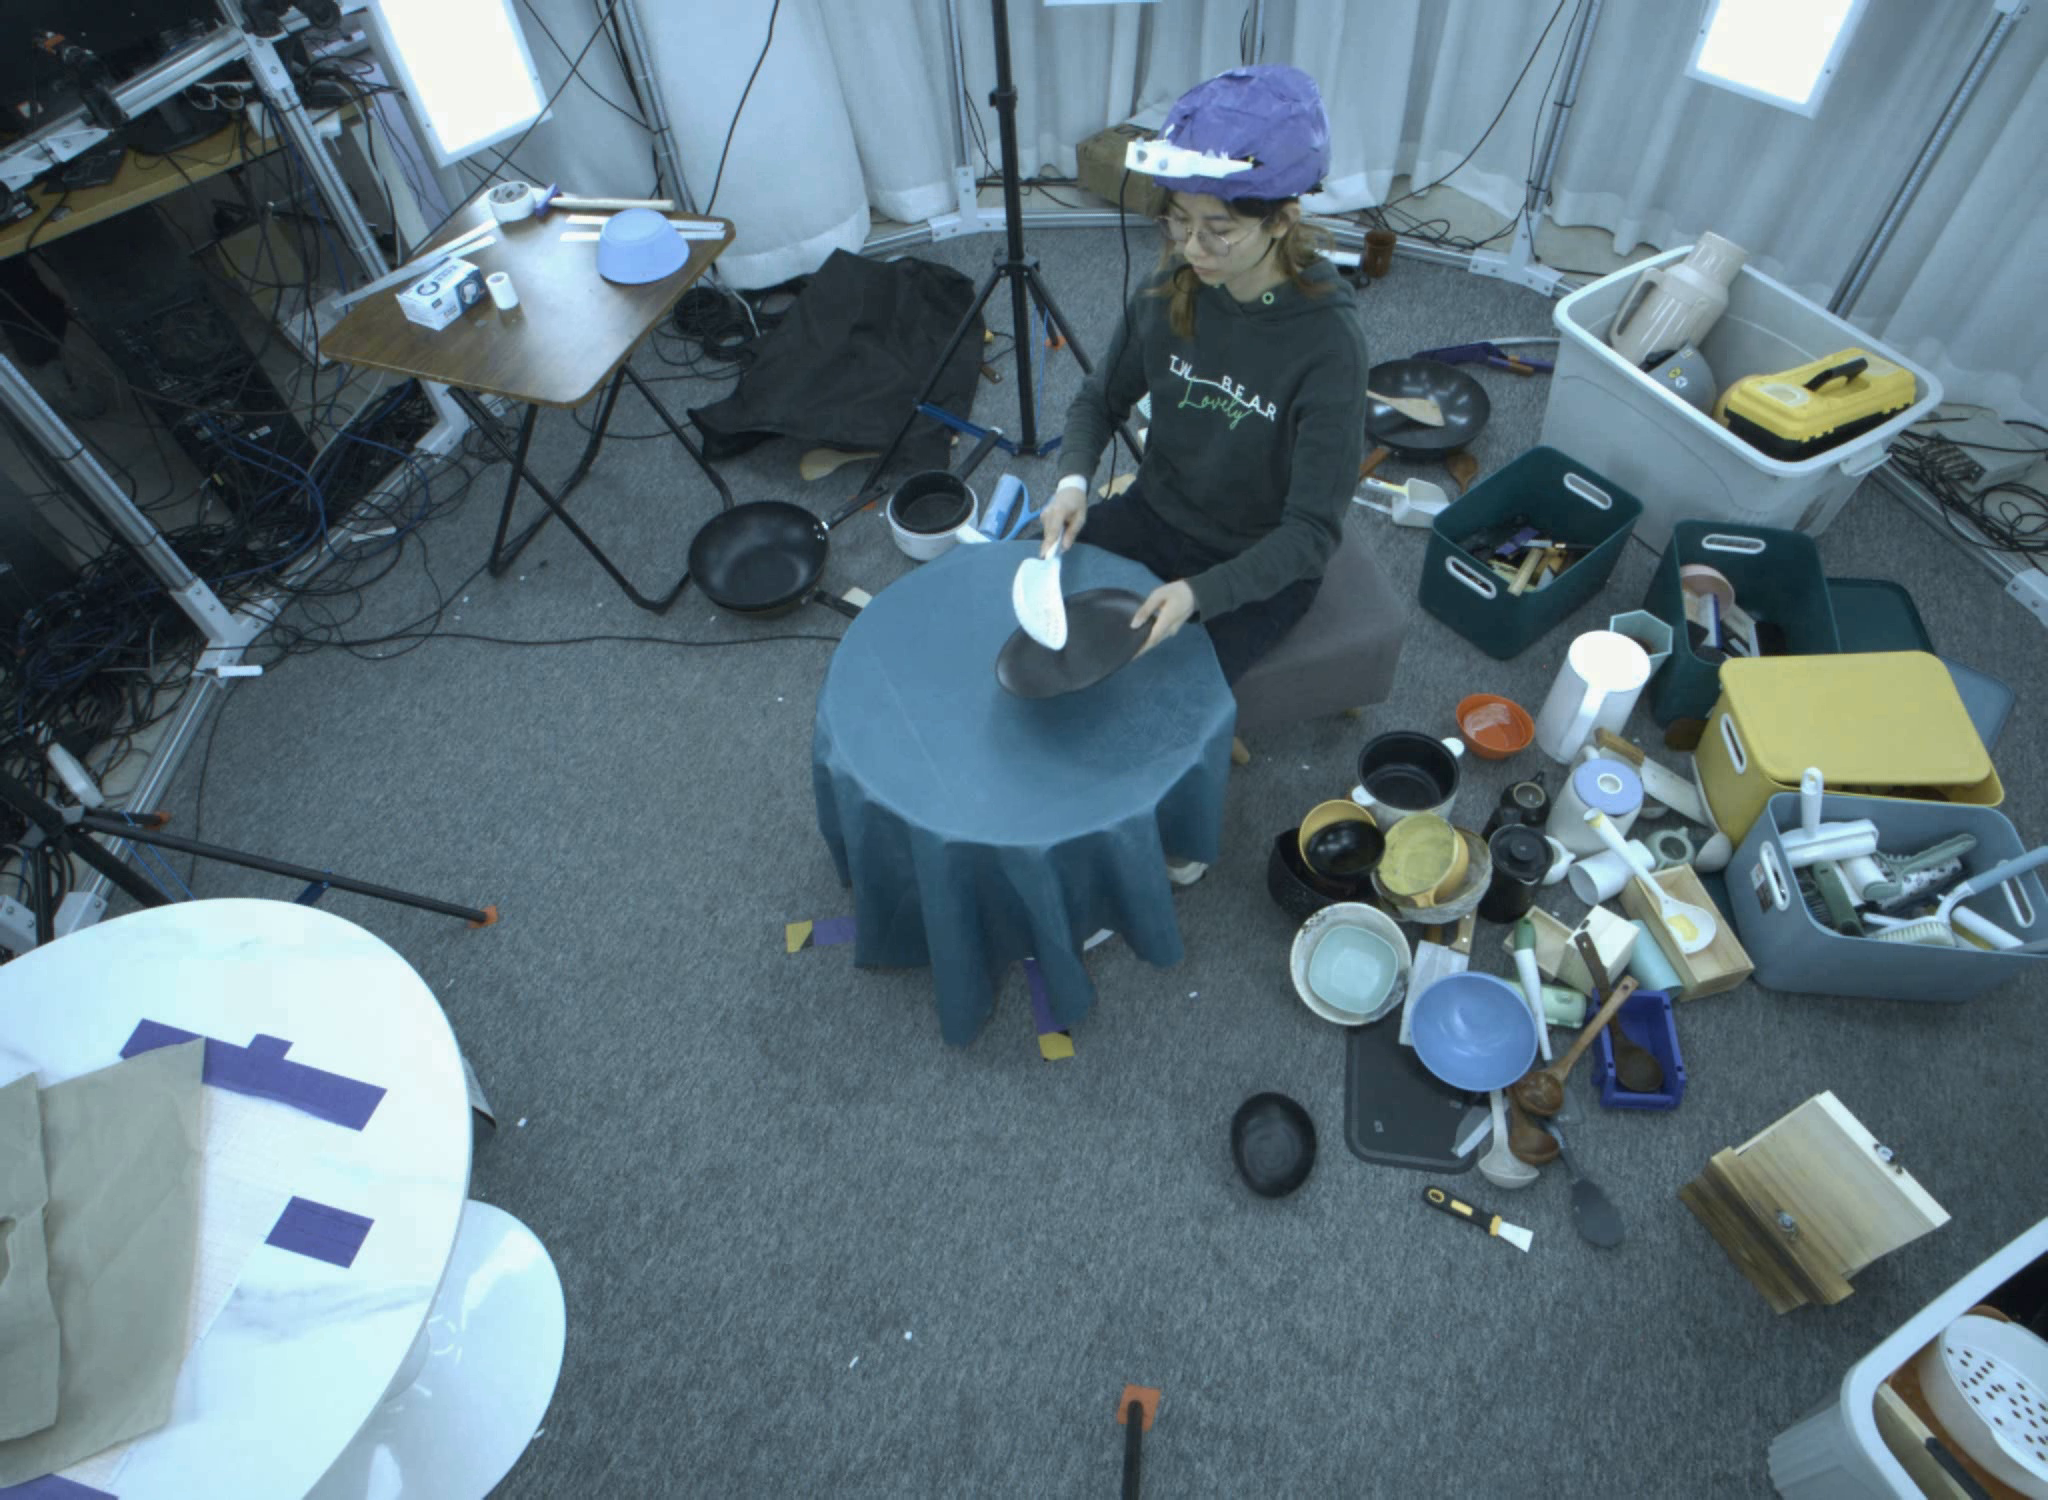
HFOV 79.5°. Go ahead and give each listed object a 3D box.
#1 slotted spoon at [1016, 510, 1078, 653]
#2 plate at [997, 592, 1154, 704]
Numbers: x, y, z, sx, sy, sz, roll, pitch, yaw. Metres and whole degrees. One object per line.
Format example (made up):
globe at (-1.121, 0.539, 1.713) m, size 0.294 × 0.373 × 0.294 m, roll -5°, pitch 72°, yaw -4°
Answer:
slotted spoon at (0.044, -0.270, 1.847) m, size 0.045 × 0.138 × 0.348 m, roll -12°, pitch 36°, yaw 27°
plate at (0.076, -0.144, 1.776) m, size 0.242 × 0.024 × 0.242 m, roll -17°, pitch 38°, yaw 15°
